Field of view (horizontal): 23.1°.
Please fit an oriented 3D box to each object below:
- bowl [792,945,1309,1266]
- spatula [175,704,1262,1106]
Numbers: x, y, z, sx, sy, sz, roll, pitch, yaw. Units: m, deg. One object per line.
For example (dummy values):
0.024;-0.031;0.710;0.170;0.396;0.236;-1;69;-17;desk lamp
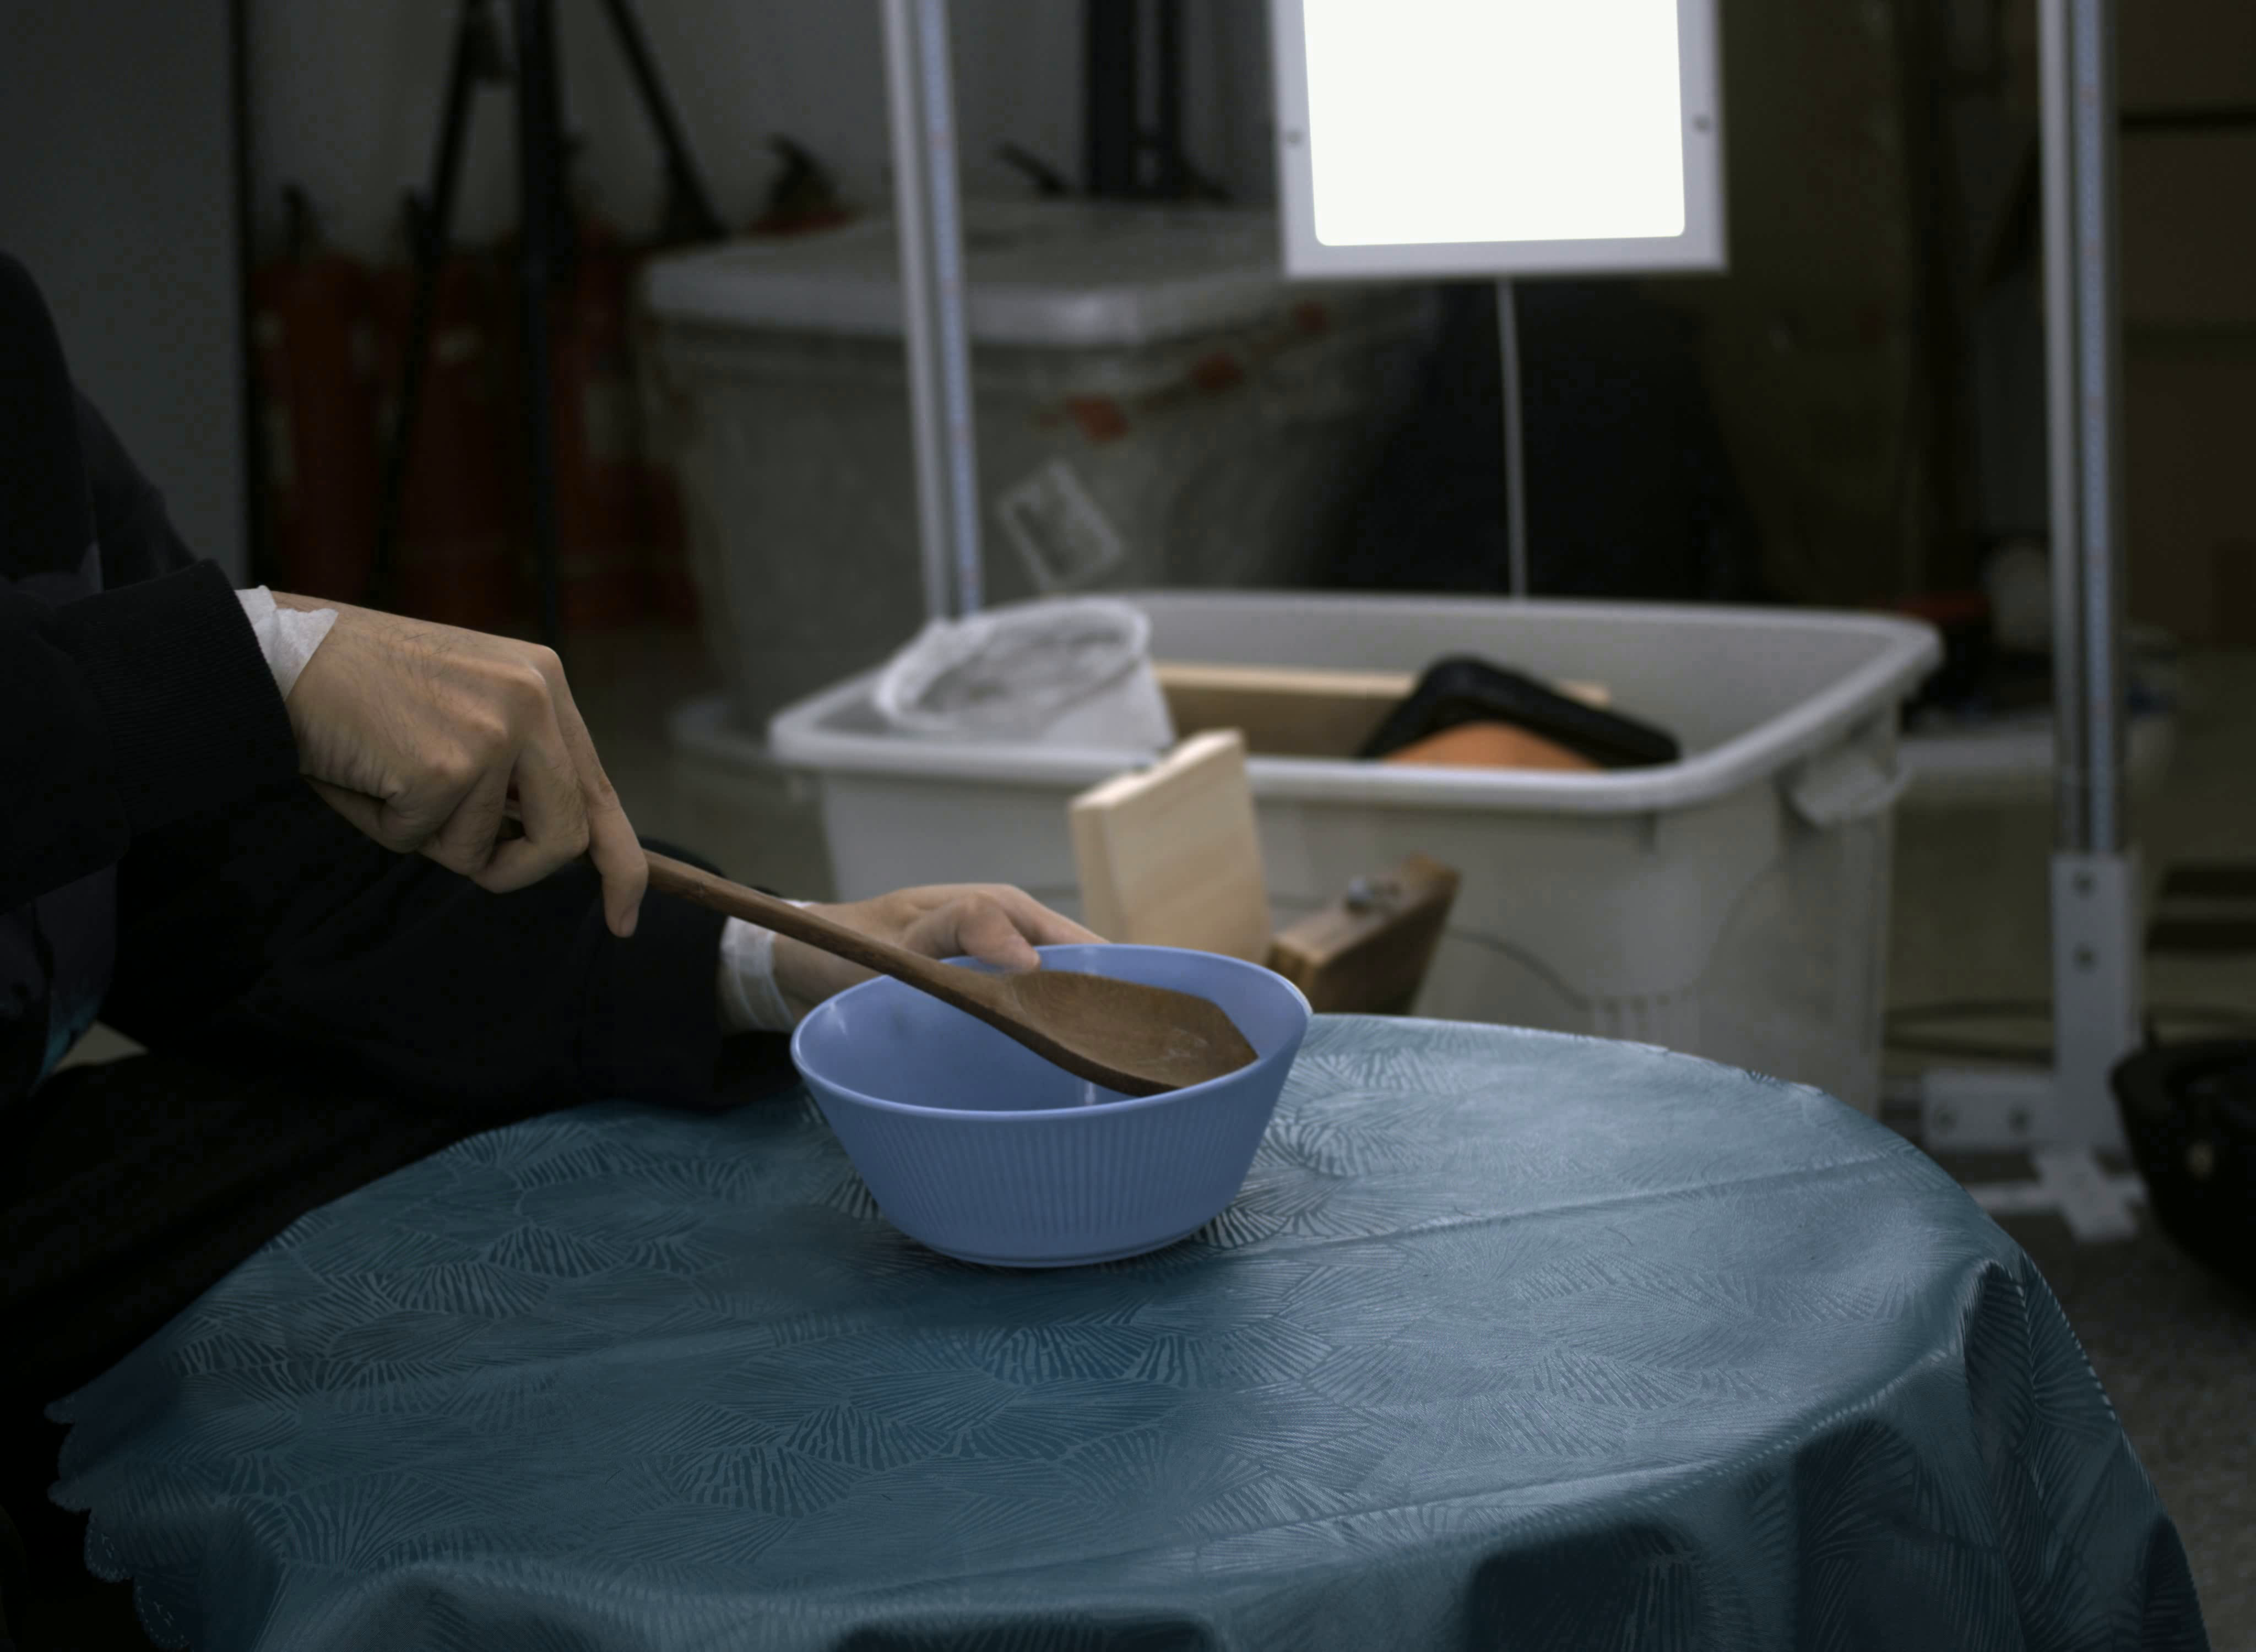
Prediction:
-0.023;0.097;1.857;0.175;0.070;0.176;-6;15;0;bowl
-0.130;0.024;1.820;0.381;0.016;0.096;20;17;-14;spatula
